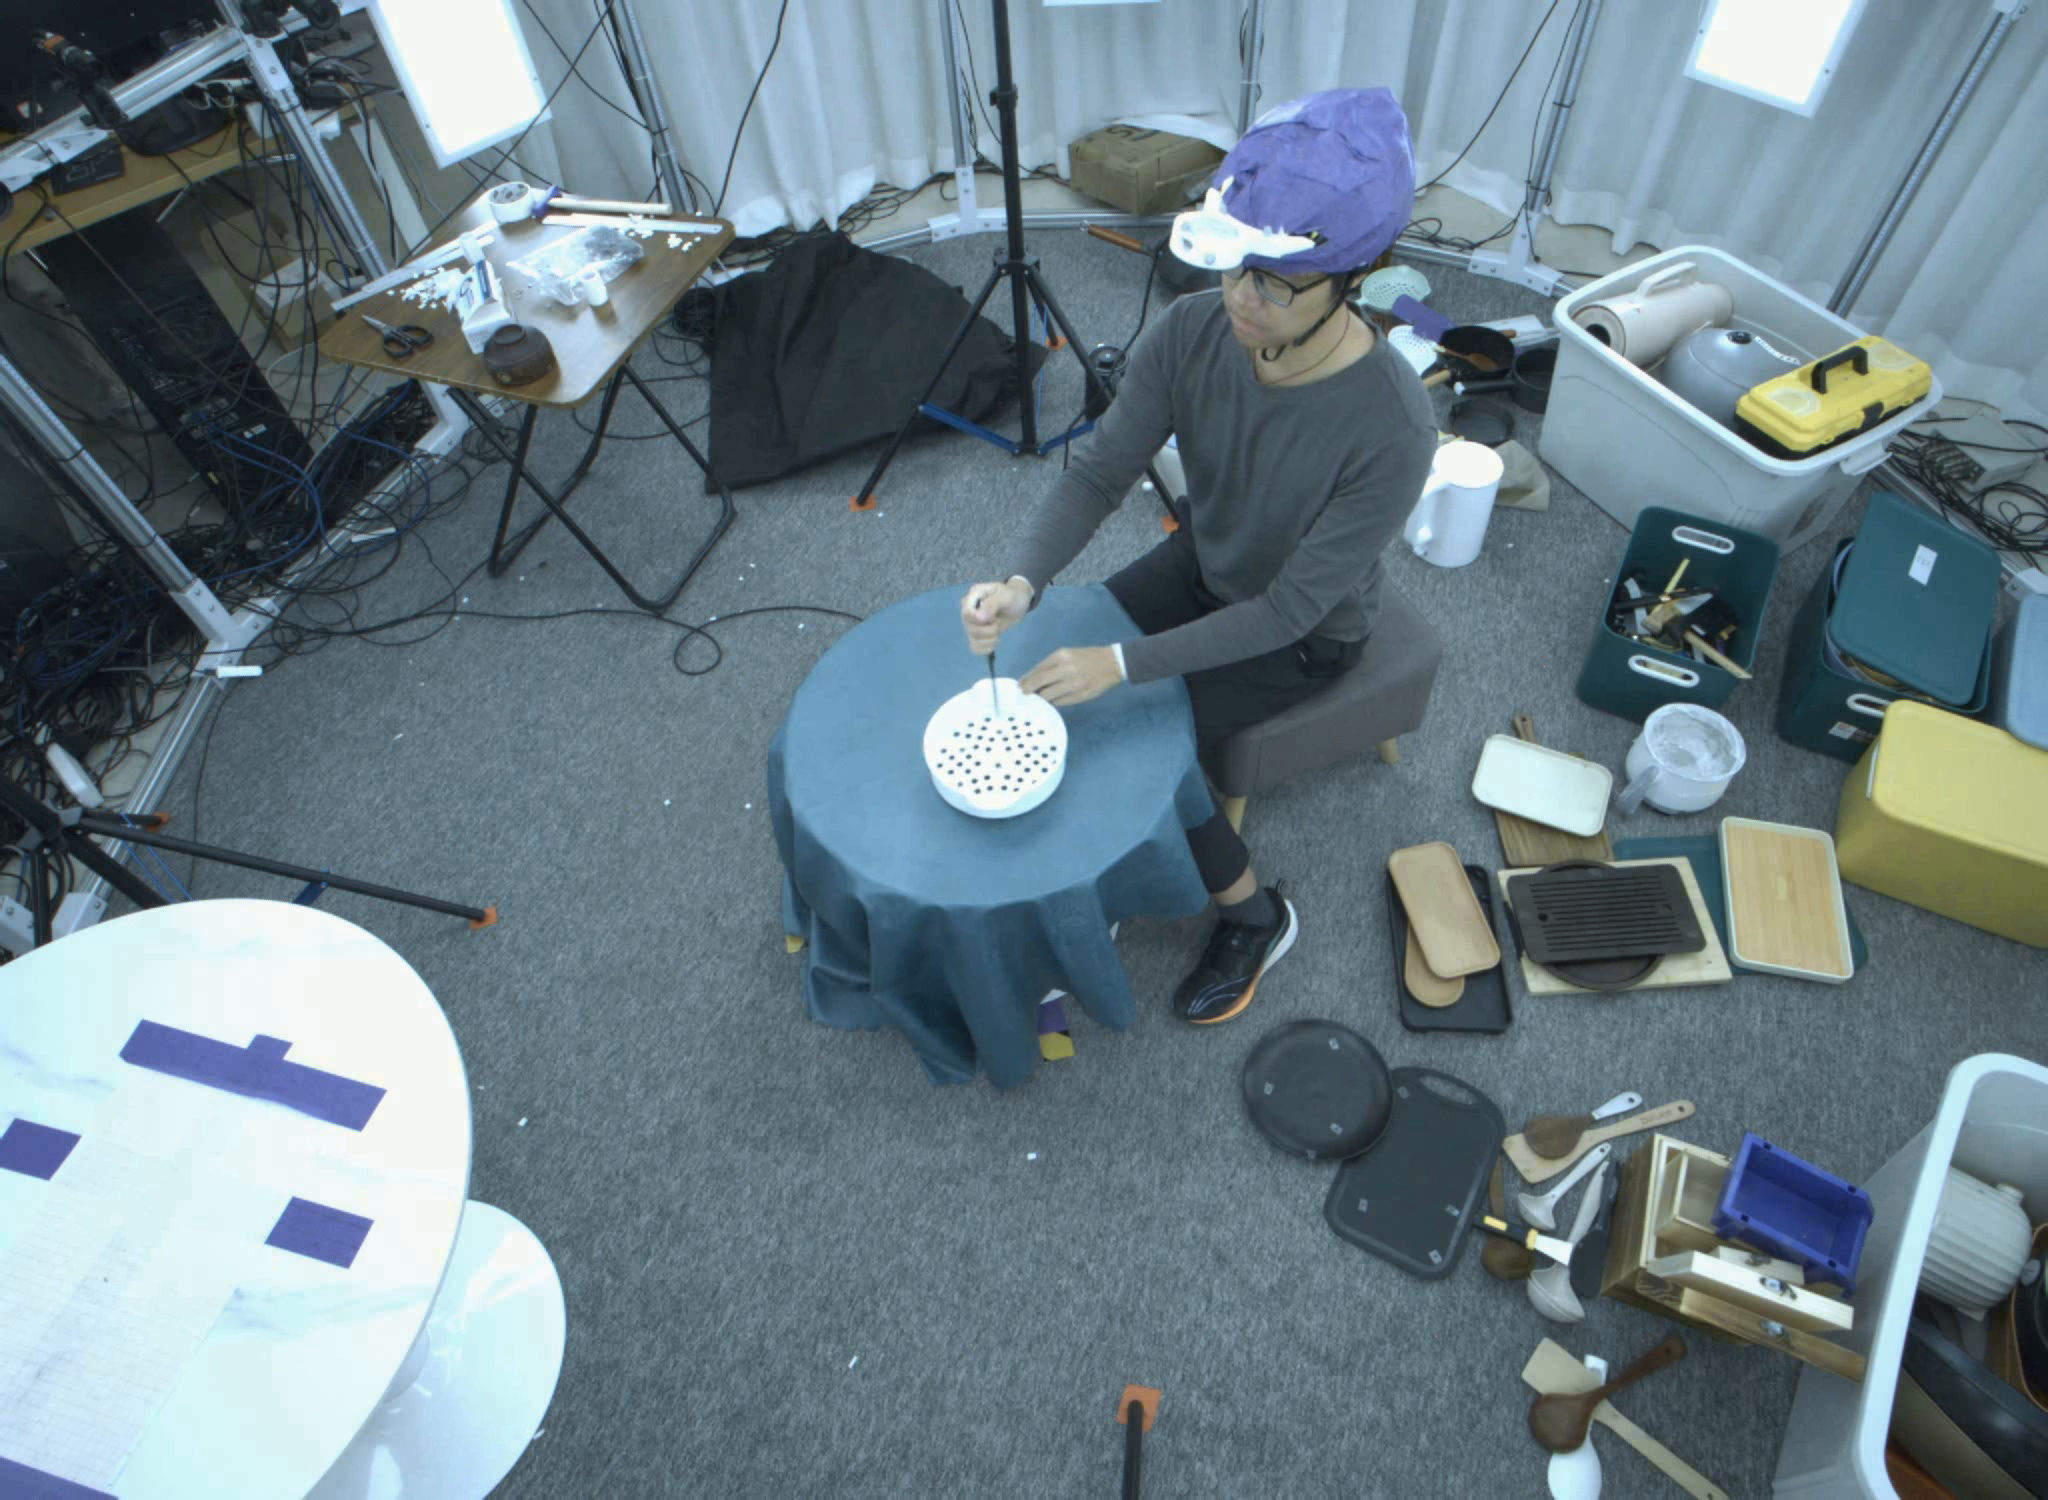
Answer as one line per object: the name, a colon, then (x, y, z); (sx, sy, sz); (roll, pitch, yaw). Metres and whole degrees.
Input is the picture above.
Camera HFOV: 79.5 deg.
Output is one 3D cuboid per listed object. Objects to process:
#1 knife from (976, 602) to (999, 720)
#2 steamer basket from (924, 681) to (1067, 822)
knife: (-0.046, -0.119, 1.689); (0.016, 0.241, 0.024); (6, 53, 10)
steamer basket: (-0.039, 0.007, 1.749); (0.202, 0.070, 0.228); (0, 54, 1)
